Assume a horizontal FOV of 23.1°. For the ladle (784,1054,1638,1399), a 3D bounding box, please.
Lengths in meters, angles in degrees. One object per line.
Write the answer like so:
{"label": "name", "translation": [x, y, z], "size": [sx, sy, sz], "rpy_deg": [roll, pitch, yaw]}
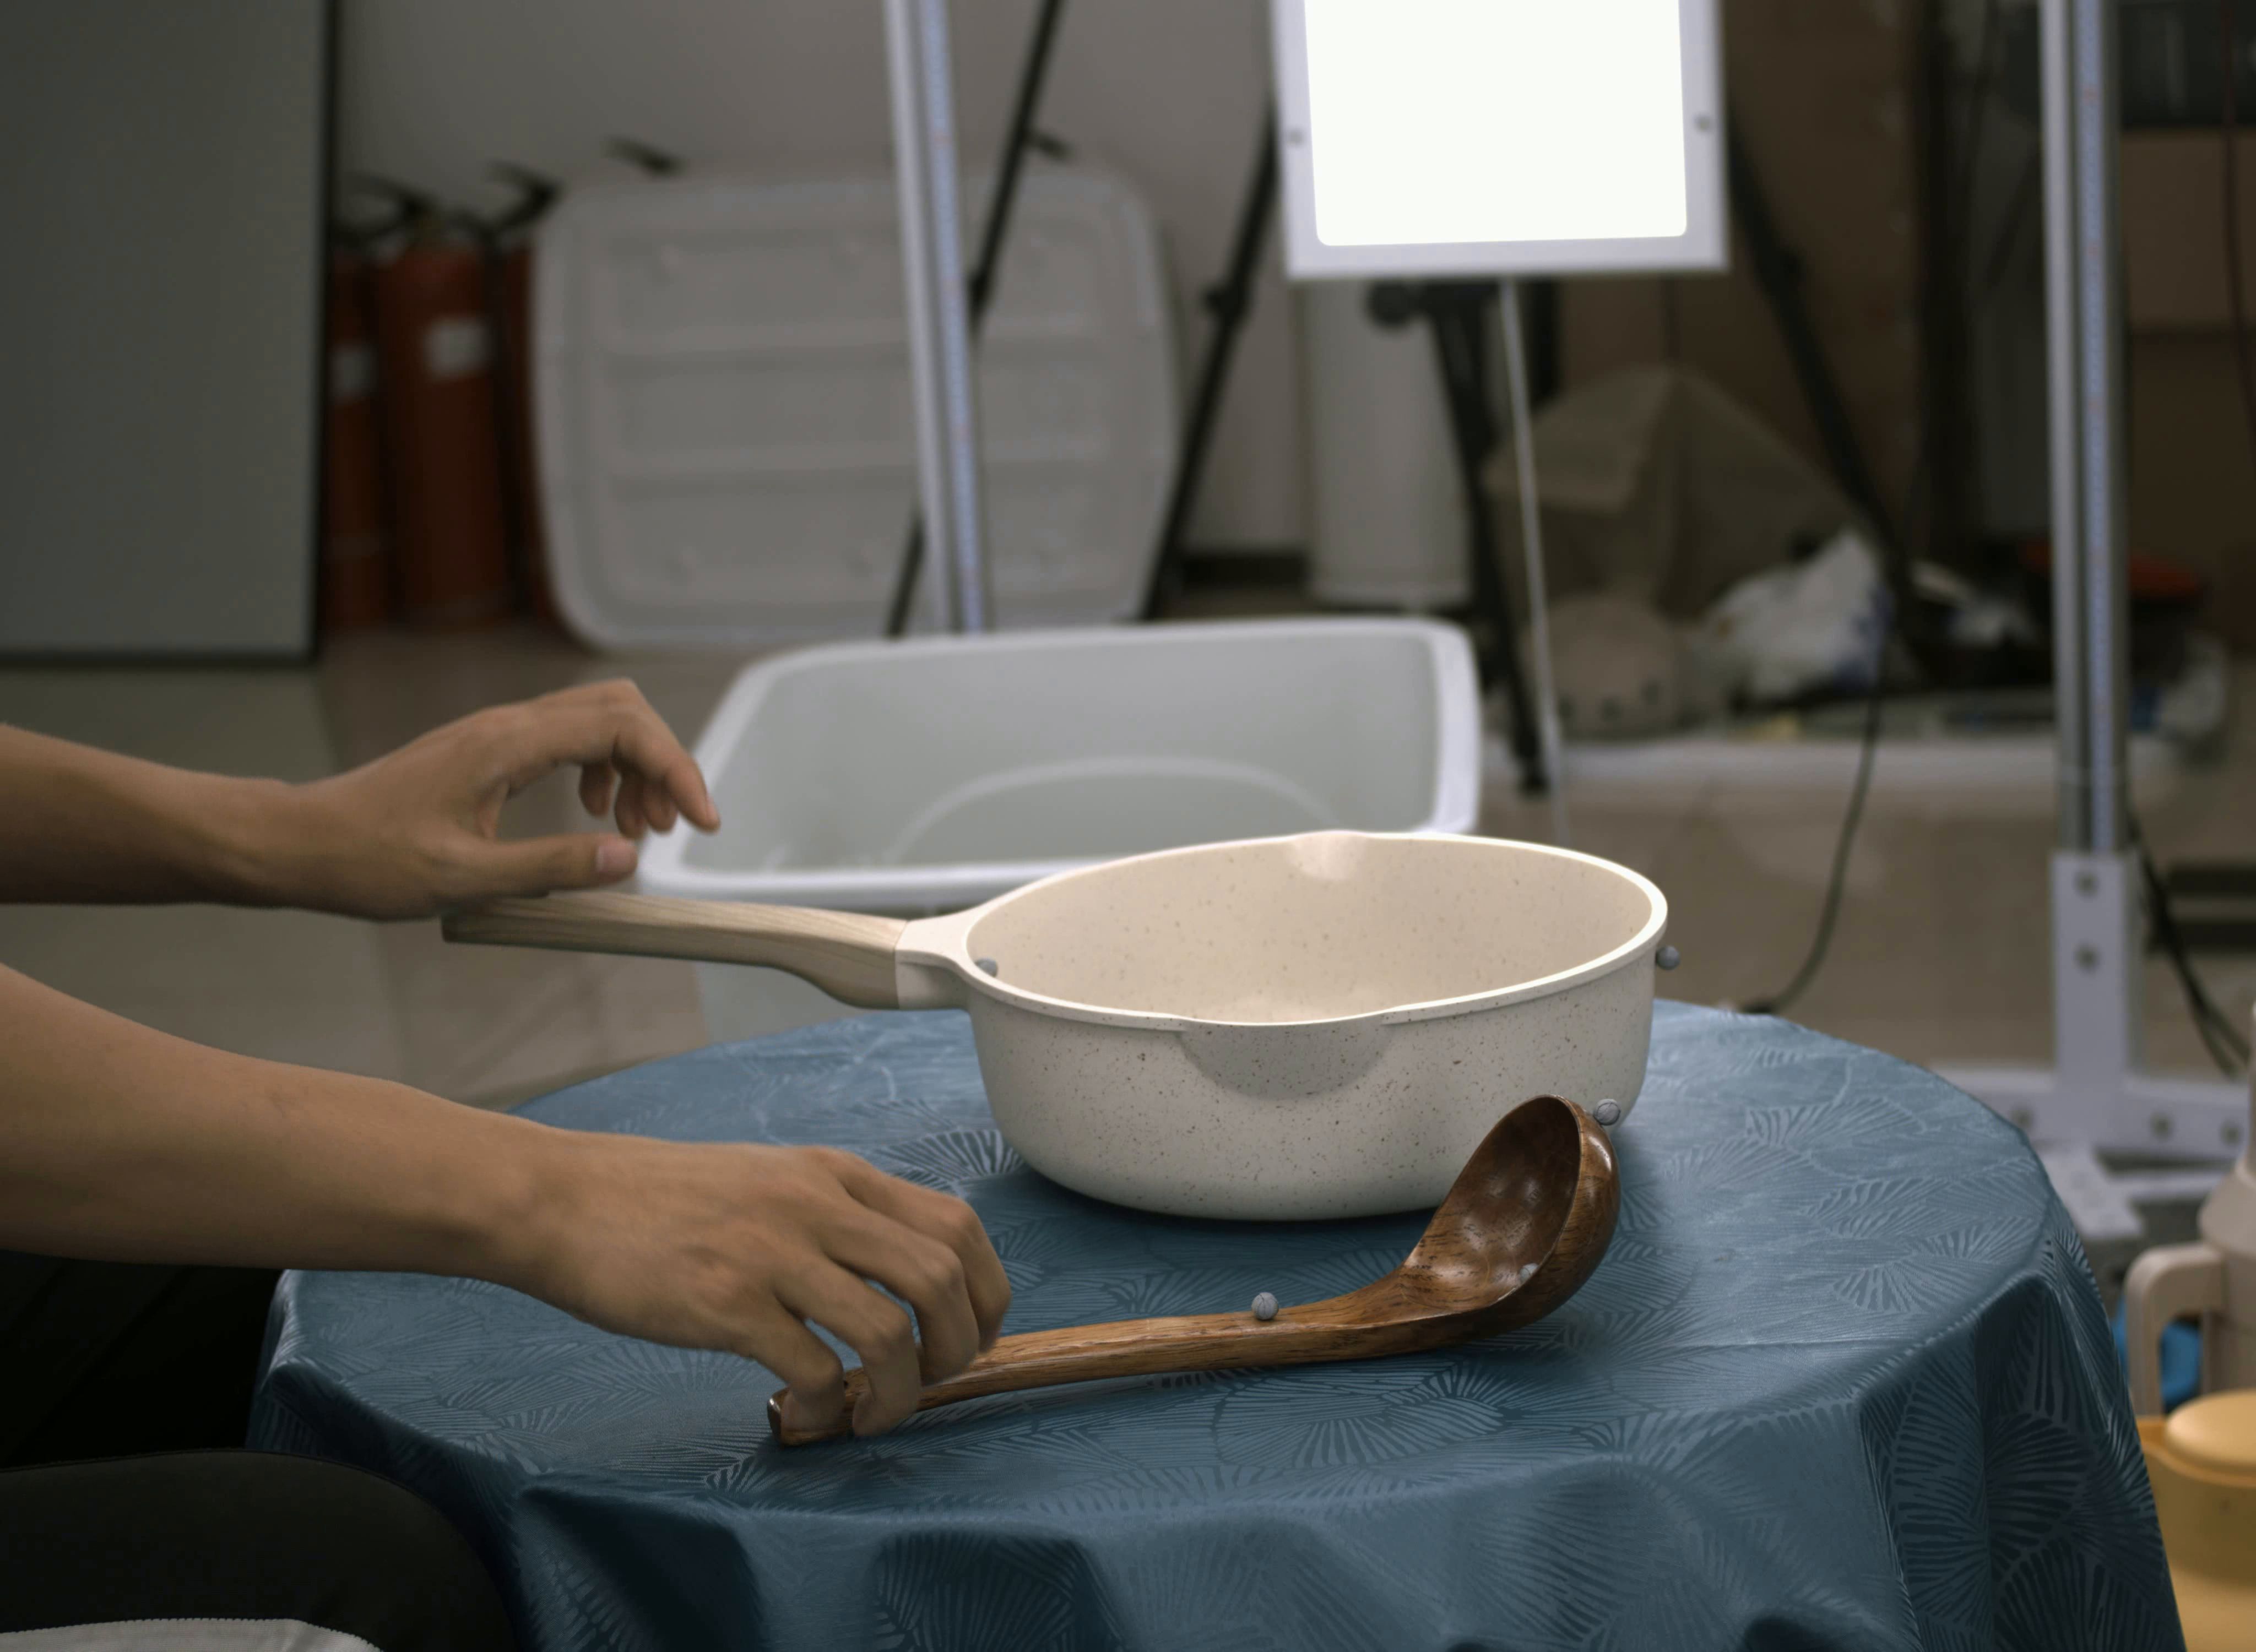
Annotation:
{"label": "ladle", "translation": [0.027, 0.123, 1.707], "size": [0.271, 0.077, 0.082], "rpy_deg": [-7, 15, -9]}

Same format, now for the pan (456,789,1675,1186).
{"label": "pan", "translation": [-0.021, 0.056, 1.960], "size": [0.437, 0.102, 0.261], "rpy_deg": [-3, 15, 8]}
